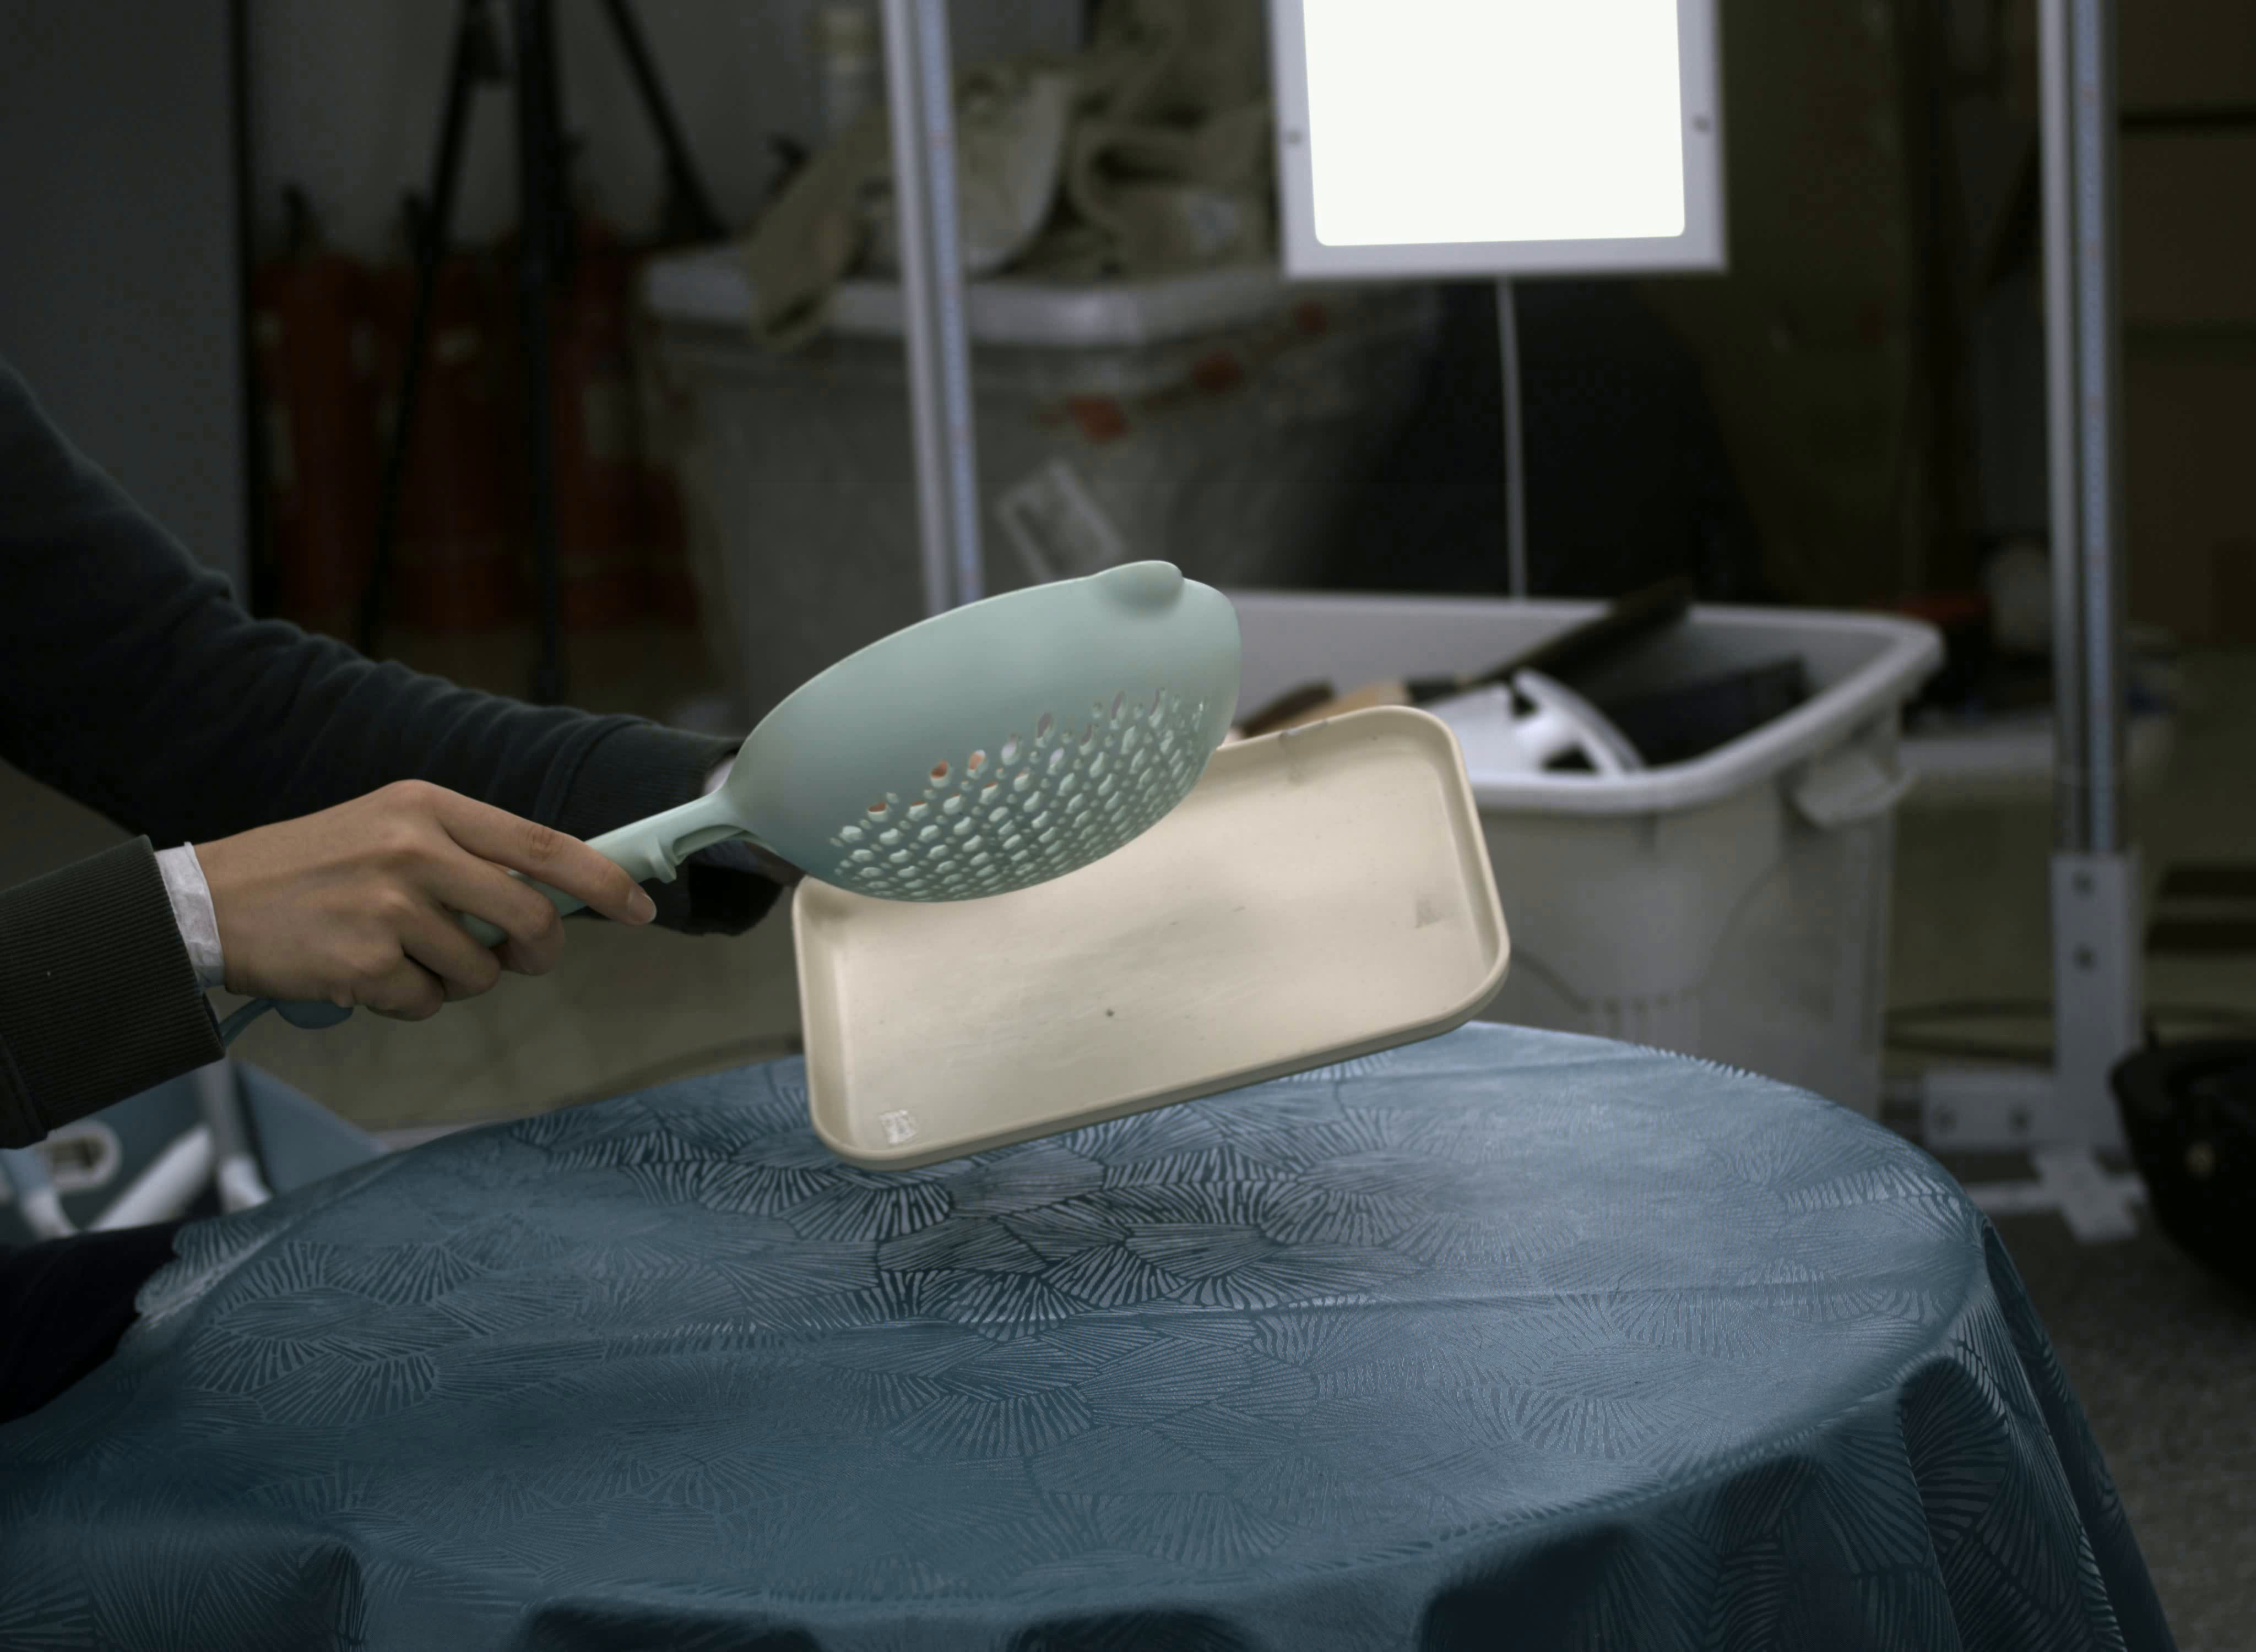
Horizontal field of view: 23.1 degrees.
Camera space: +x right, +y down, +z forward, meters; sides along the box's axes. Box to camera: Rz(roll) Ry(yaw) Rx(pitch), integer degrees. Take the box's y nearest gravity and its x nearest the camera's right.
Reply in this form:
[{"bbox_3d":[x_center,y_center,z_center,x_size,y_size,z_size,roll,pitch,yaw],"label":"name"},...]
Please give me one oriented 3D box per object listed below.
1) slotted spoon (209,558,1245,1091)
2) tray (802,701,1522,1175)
[{"bbox_3d":[-0.130,0.007,1.767,0.360,0.075,0.168,-14,-19,7],"label":"slotted spoon"},{"bbox_3d":[0.010,0.038,1.852,0.240,0.017,0.171,-16,37,6],"label":"tray"}]
